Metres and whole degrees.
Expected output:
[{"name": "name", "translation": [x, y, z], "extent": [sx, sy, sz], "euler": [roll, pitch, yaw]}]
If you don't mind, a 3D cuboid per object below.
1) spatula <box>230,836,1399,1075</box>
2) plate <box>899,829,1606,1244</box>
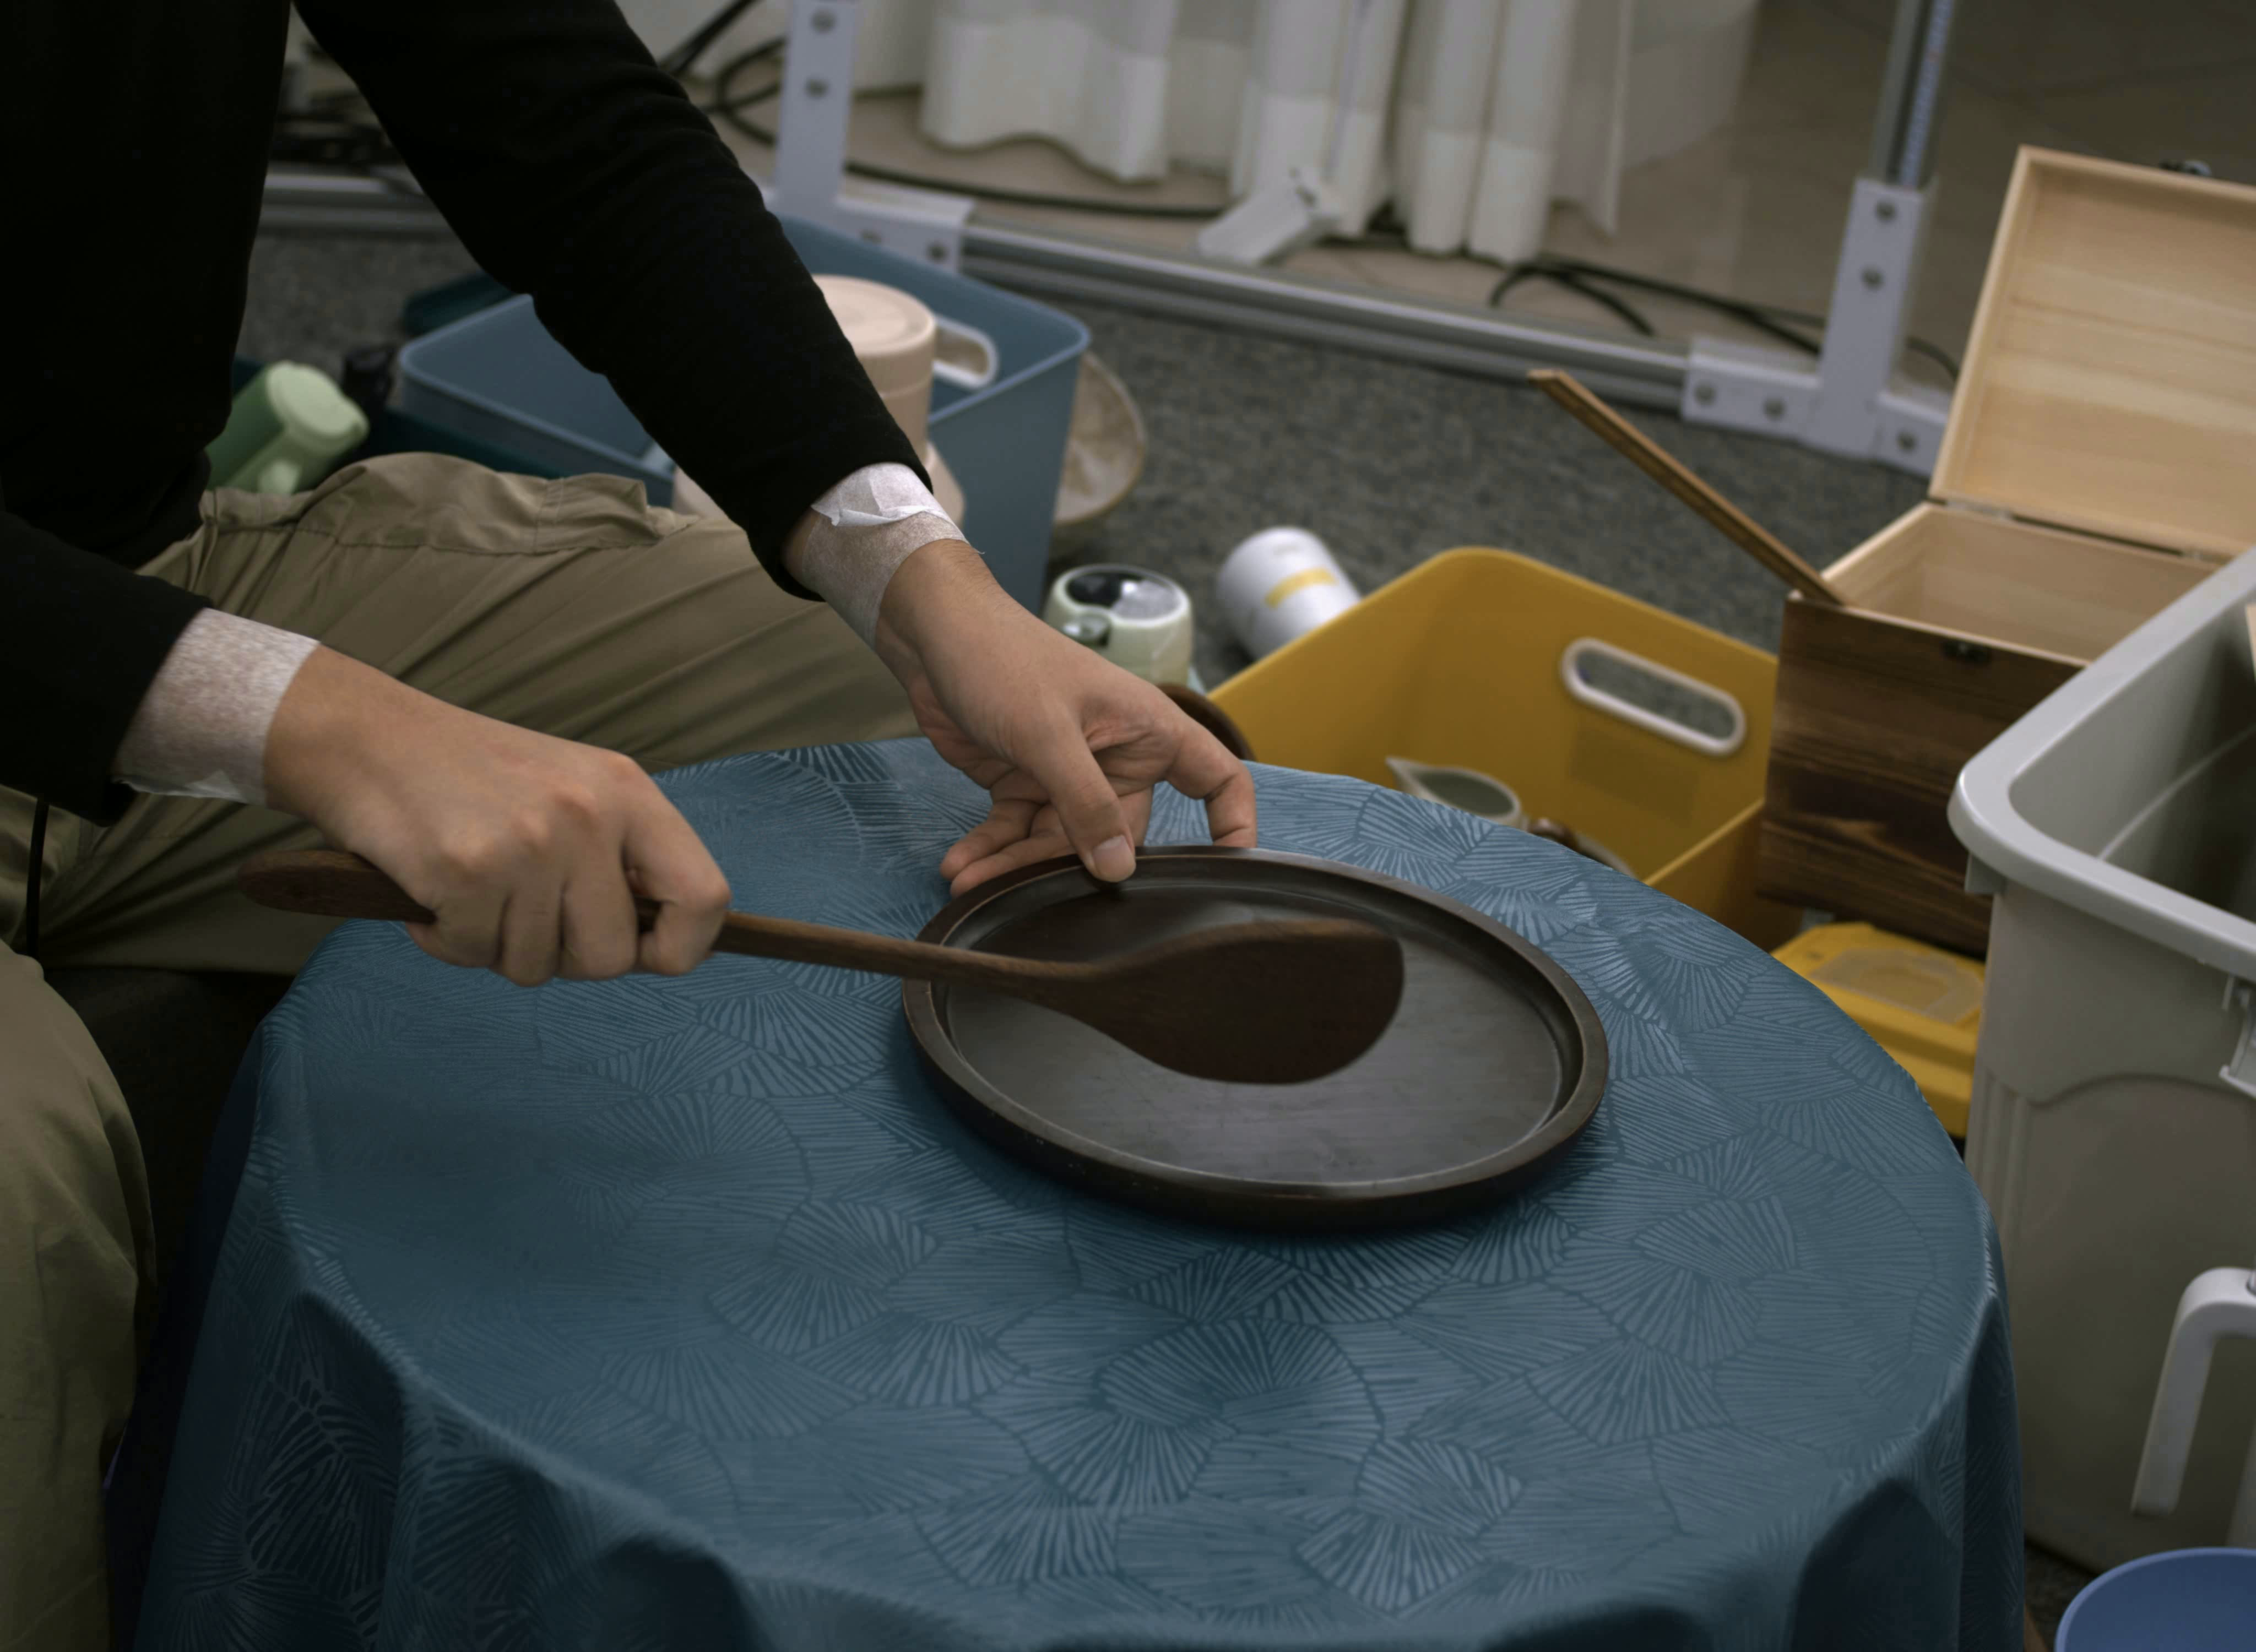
[{"name": "spatula", "translation": [-0.101, 0.036, 1.747], "extent": [0.384, 0.096, 0.016], "euler": [8, 53, -8]}, {"name": "plate", "translation": [0.043, 0.075, 1.884], "extent": [0.254, 0.029, 0.256], "euler": [5, 28, -3]}]
